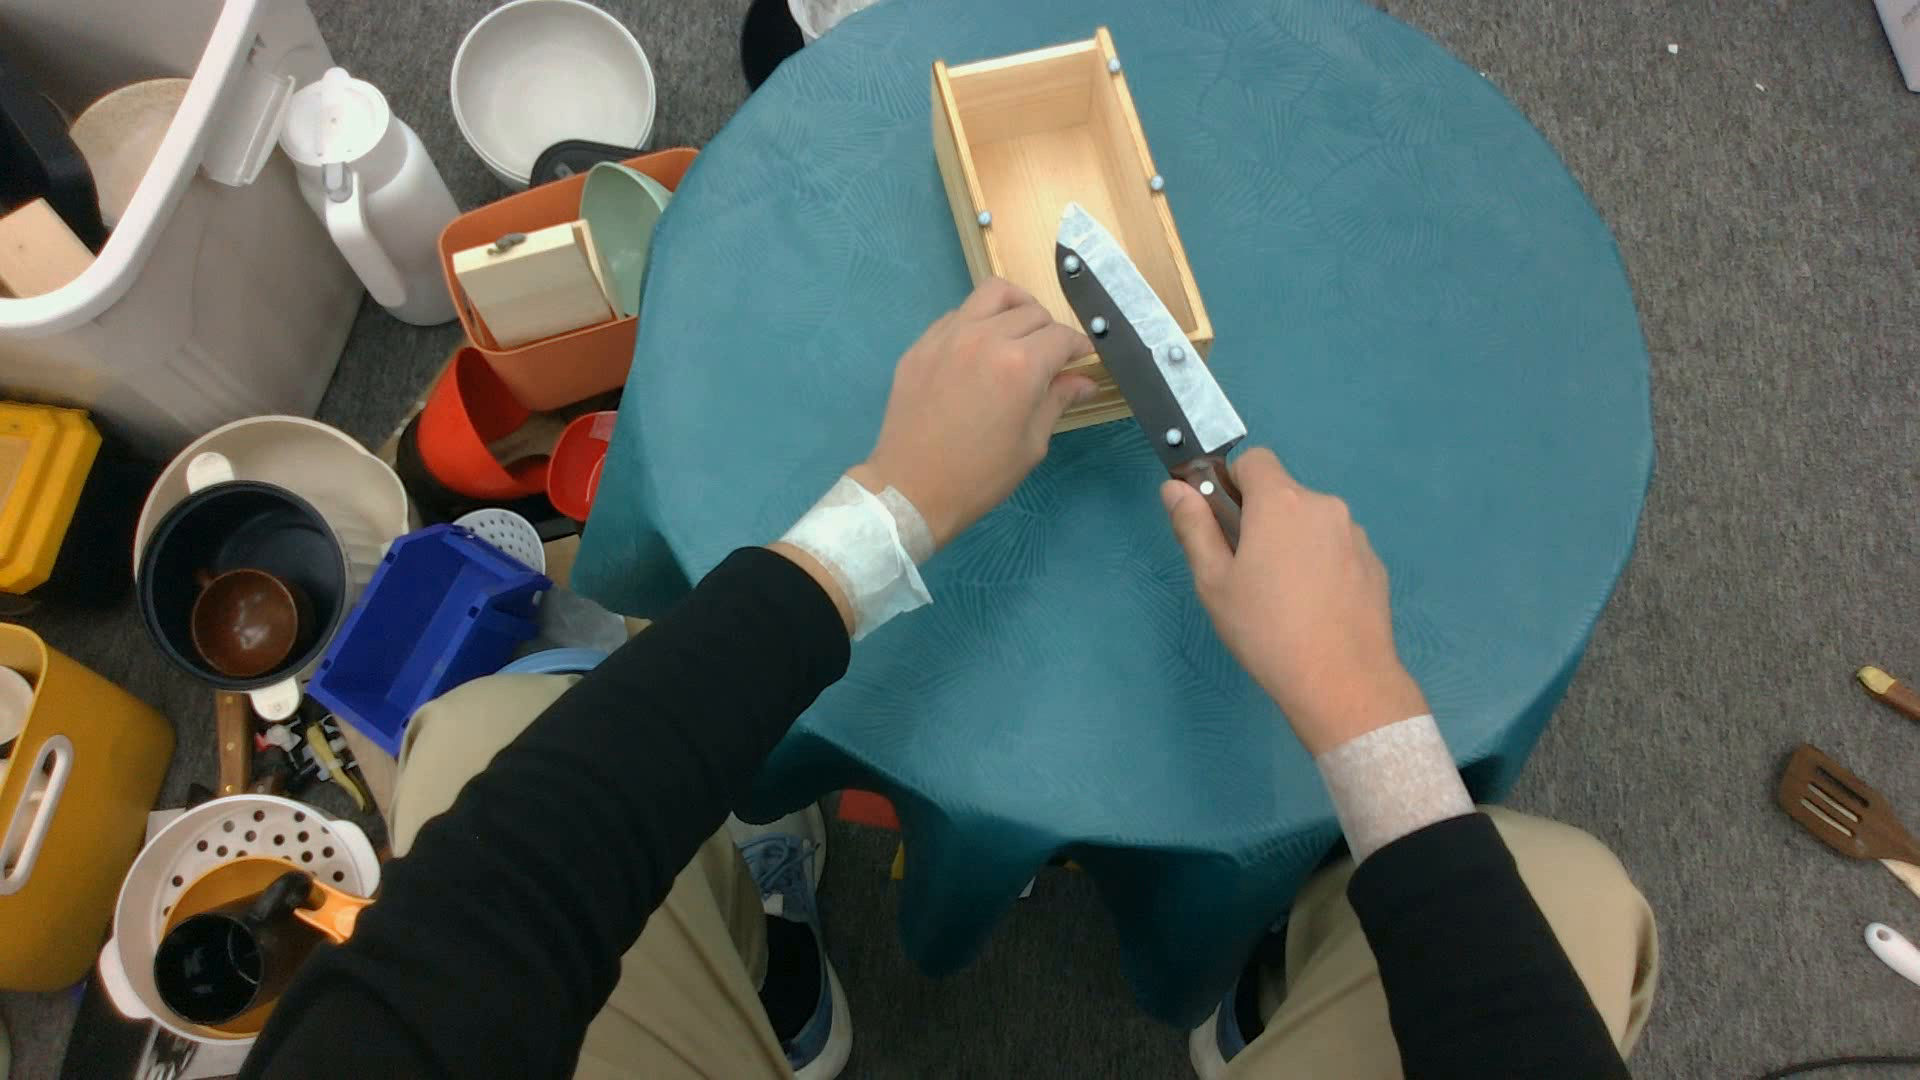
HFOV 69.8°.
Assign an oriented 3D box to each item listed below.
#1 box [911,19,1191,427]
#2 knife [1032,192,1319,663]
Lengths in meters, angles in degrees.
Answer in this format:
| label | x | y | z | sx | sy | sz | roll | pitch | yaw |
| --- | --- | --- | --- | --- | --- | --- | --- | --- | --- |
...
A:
| label | x | y | z | sx | sy | sz | roll | pitch | yaw |
| --- | --- | --- | --- | --- | --- | --- | --- | --- | --- |
| box | 0.047 | -0.184 | 0.798 | 0.107 | 0.080 | 0.212 | -13 | 69 | -6 |
| knife | 0.105 | -0.067 | 0.702 | 0.050 | 0.020 | 0.289 | -26 | 69 | 4 |
